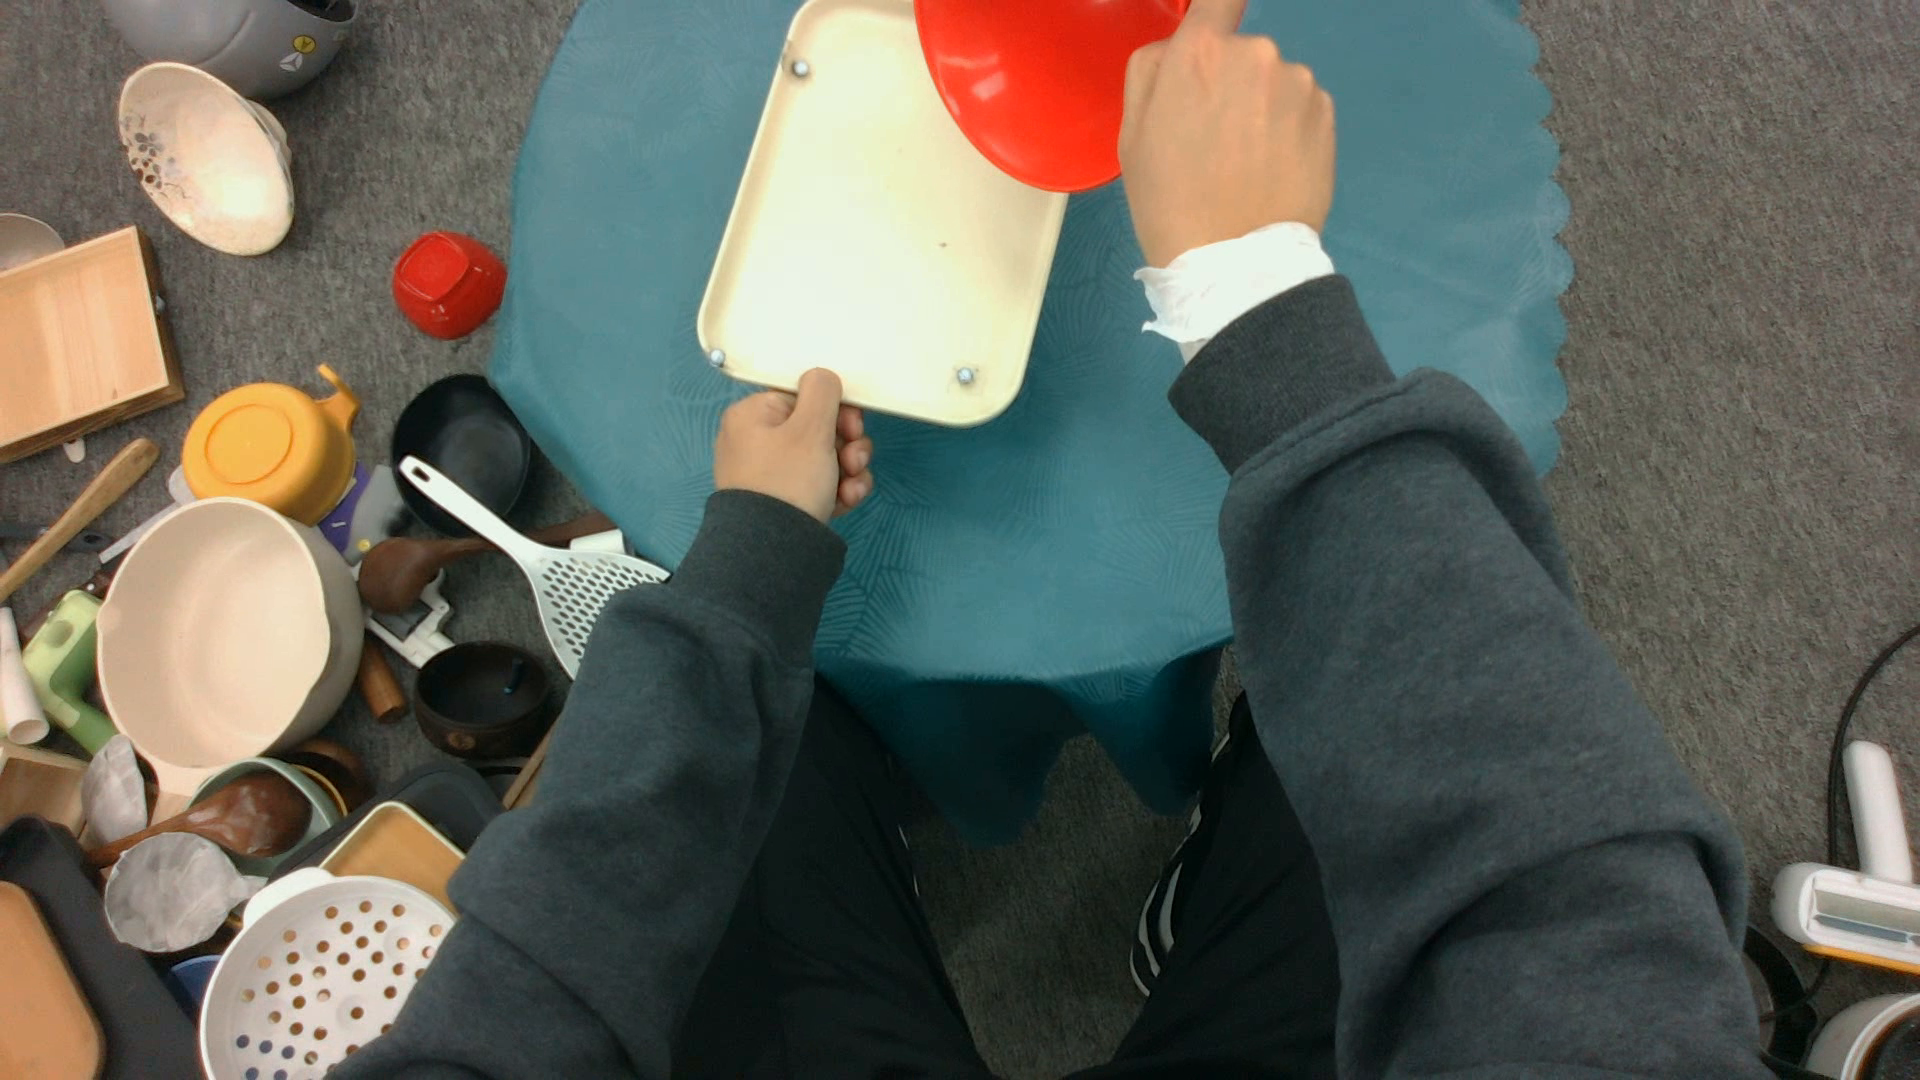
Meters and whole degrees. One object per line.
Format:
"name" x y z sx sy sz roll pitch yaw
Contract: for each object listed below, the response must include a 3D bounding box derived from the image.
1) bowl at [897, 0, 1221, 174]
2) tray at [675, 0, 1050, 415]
"bowl" 0.055 -0.248 0.606 0.105 0.147 0.148 -31 73 -27
"tray" -0.041 -0.184 0.725 0.171 0.017 0.240 13 73 4
